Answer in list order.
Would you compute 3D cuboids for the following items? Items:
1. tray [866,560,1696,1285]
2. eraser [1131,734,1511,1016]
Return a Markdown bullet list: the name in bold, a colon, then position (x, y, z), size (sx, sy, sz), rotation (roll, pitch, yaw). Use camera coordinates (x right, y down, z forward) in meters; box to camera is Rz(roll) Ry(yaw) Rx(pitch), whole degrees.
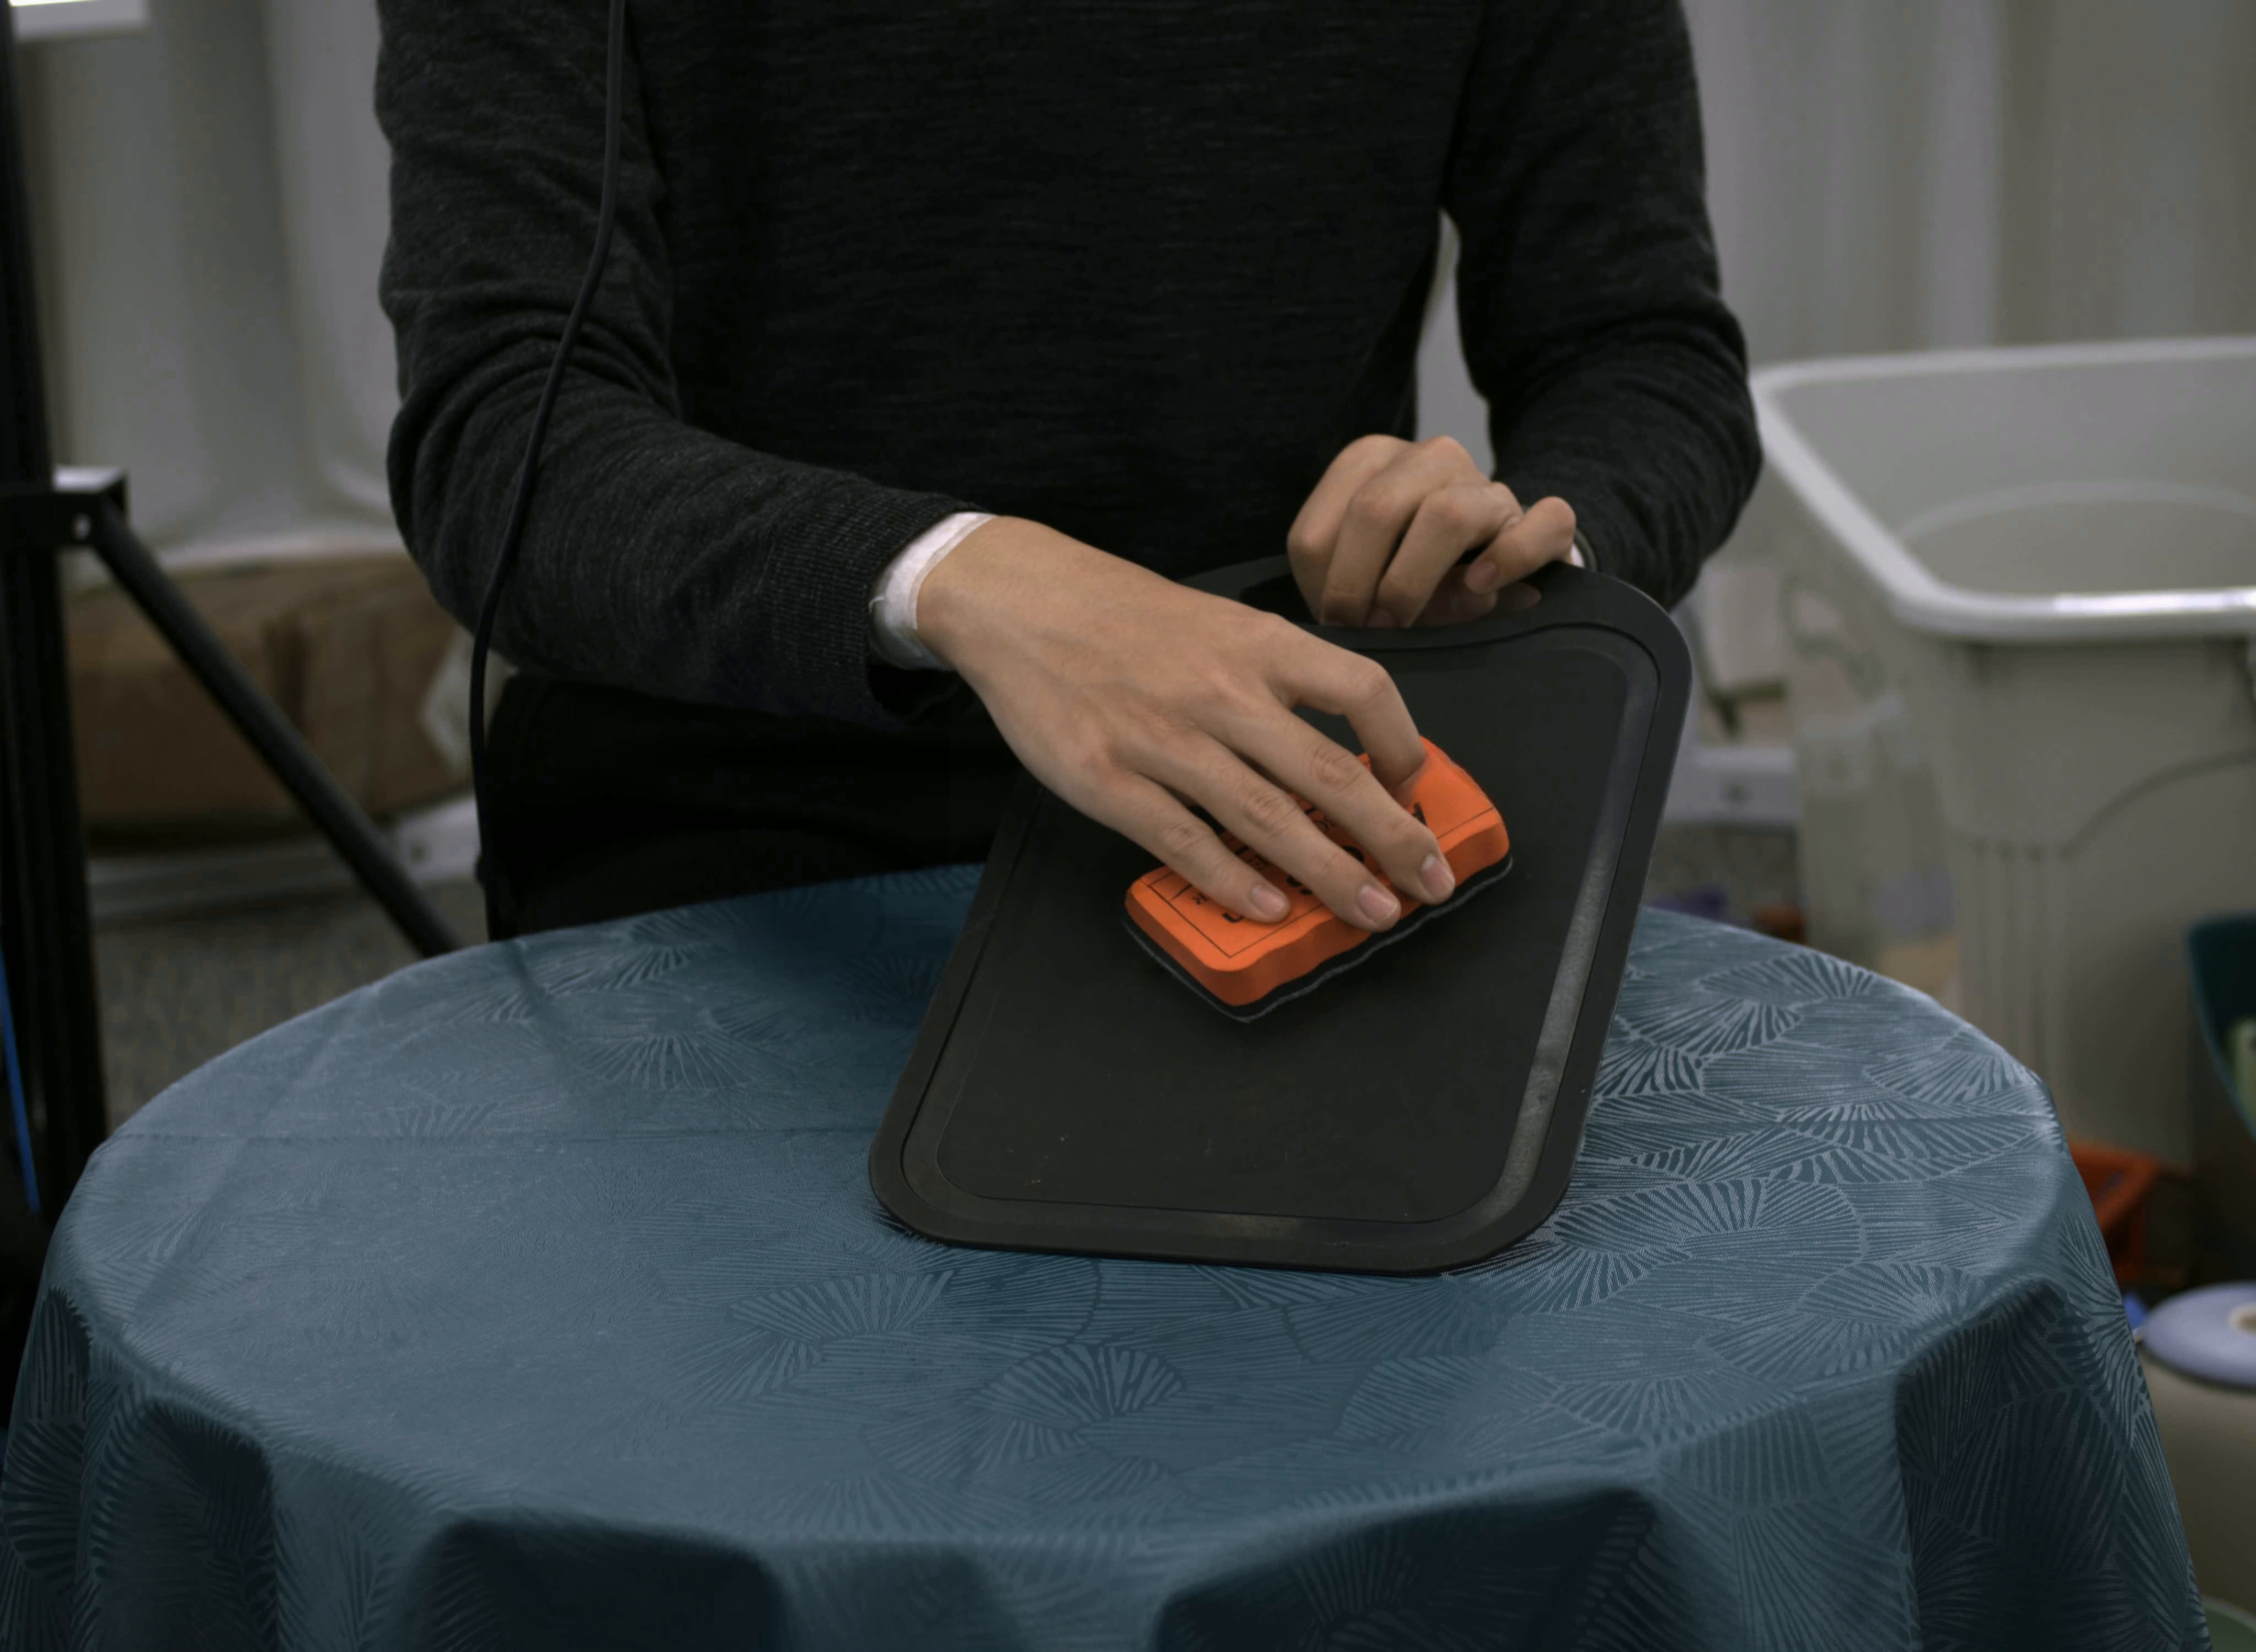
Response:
- **tray**: position (0.052, 0.018, 1.616), size (0.213, 0.009, 0.325), rotation (2, 41, 18)
- **eraser**: position (0.058, 0.014, 1.604), size (0.107, 0.022, 0.060), rotation (-28, 39, -17)
